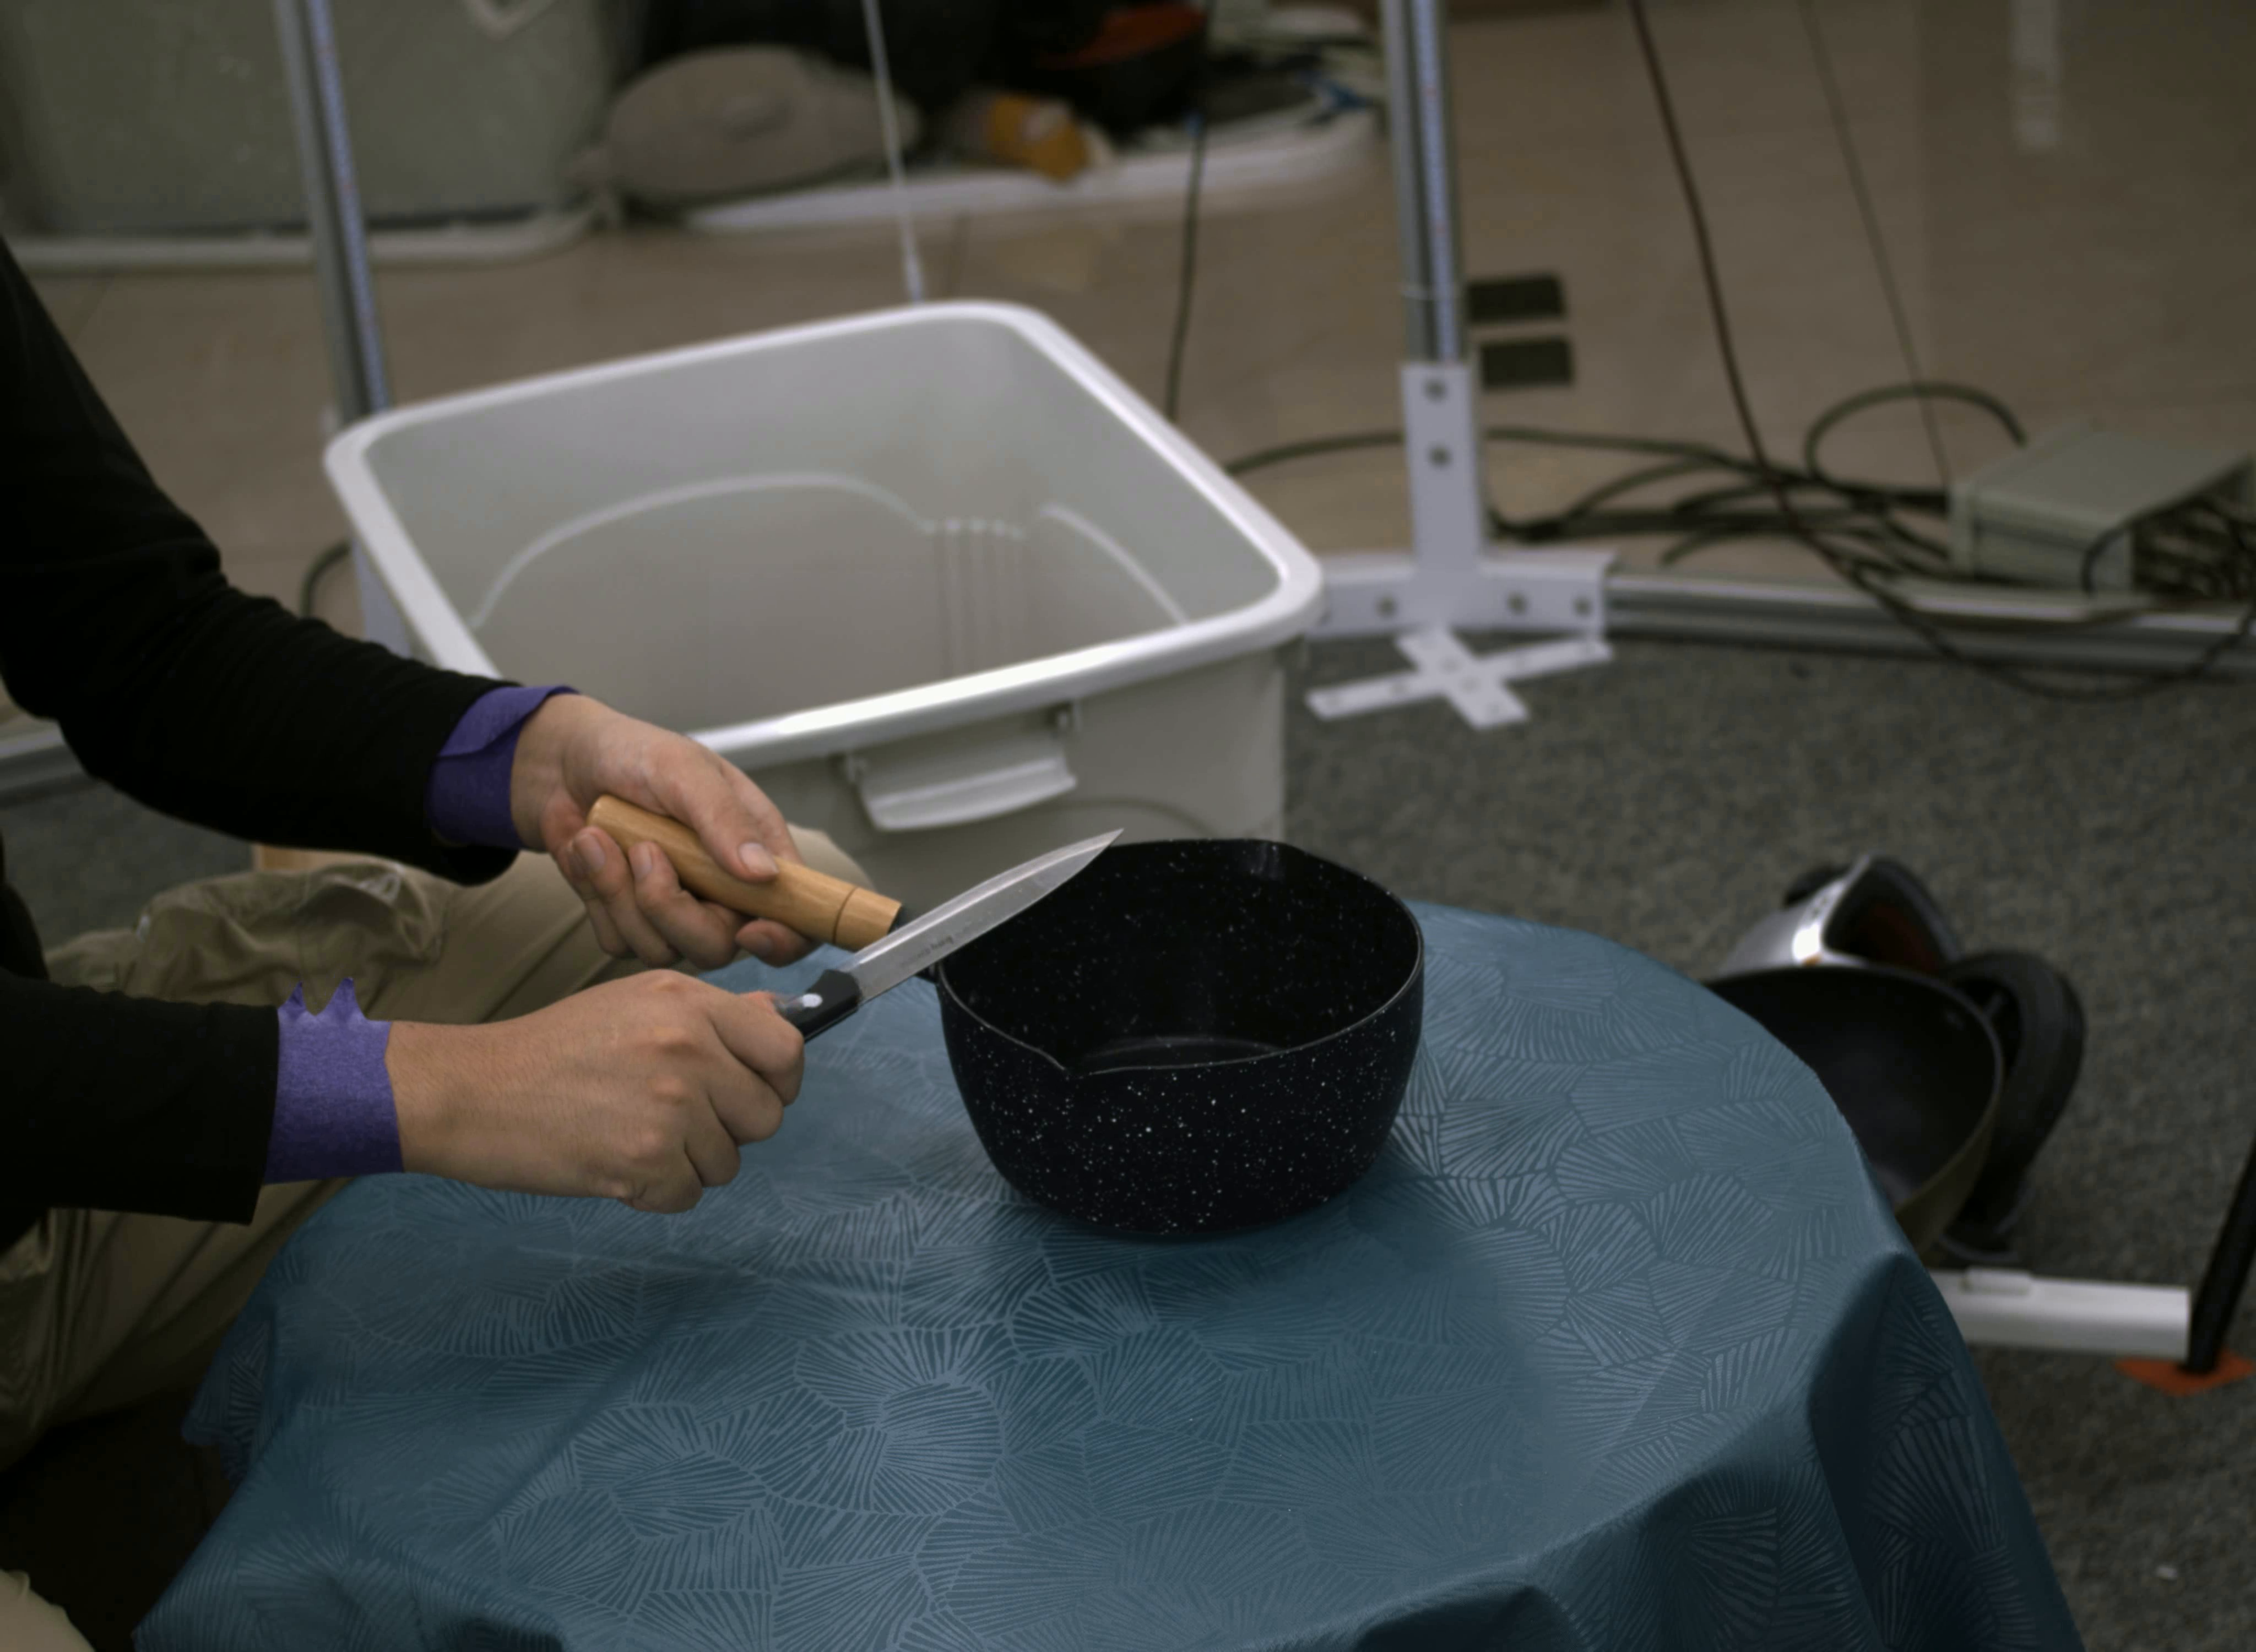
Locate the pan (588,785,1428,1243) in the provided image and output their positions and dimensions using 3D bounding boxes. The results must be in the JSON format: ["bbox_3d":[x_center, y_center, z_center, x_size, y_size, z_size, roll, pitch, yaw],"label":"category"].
[{"bbox_3d":[-0.053,0.062,2.172,0.341,0.110,0.205,10,30,19],"label":"pan"}]

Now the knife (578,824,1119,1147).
[{"bbox_3d":[-0.100,0.058,2.124,0.237,0.016,0.024,-30,55,-16],"label":"knife"}]
